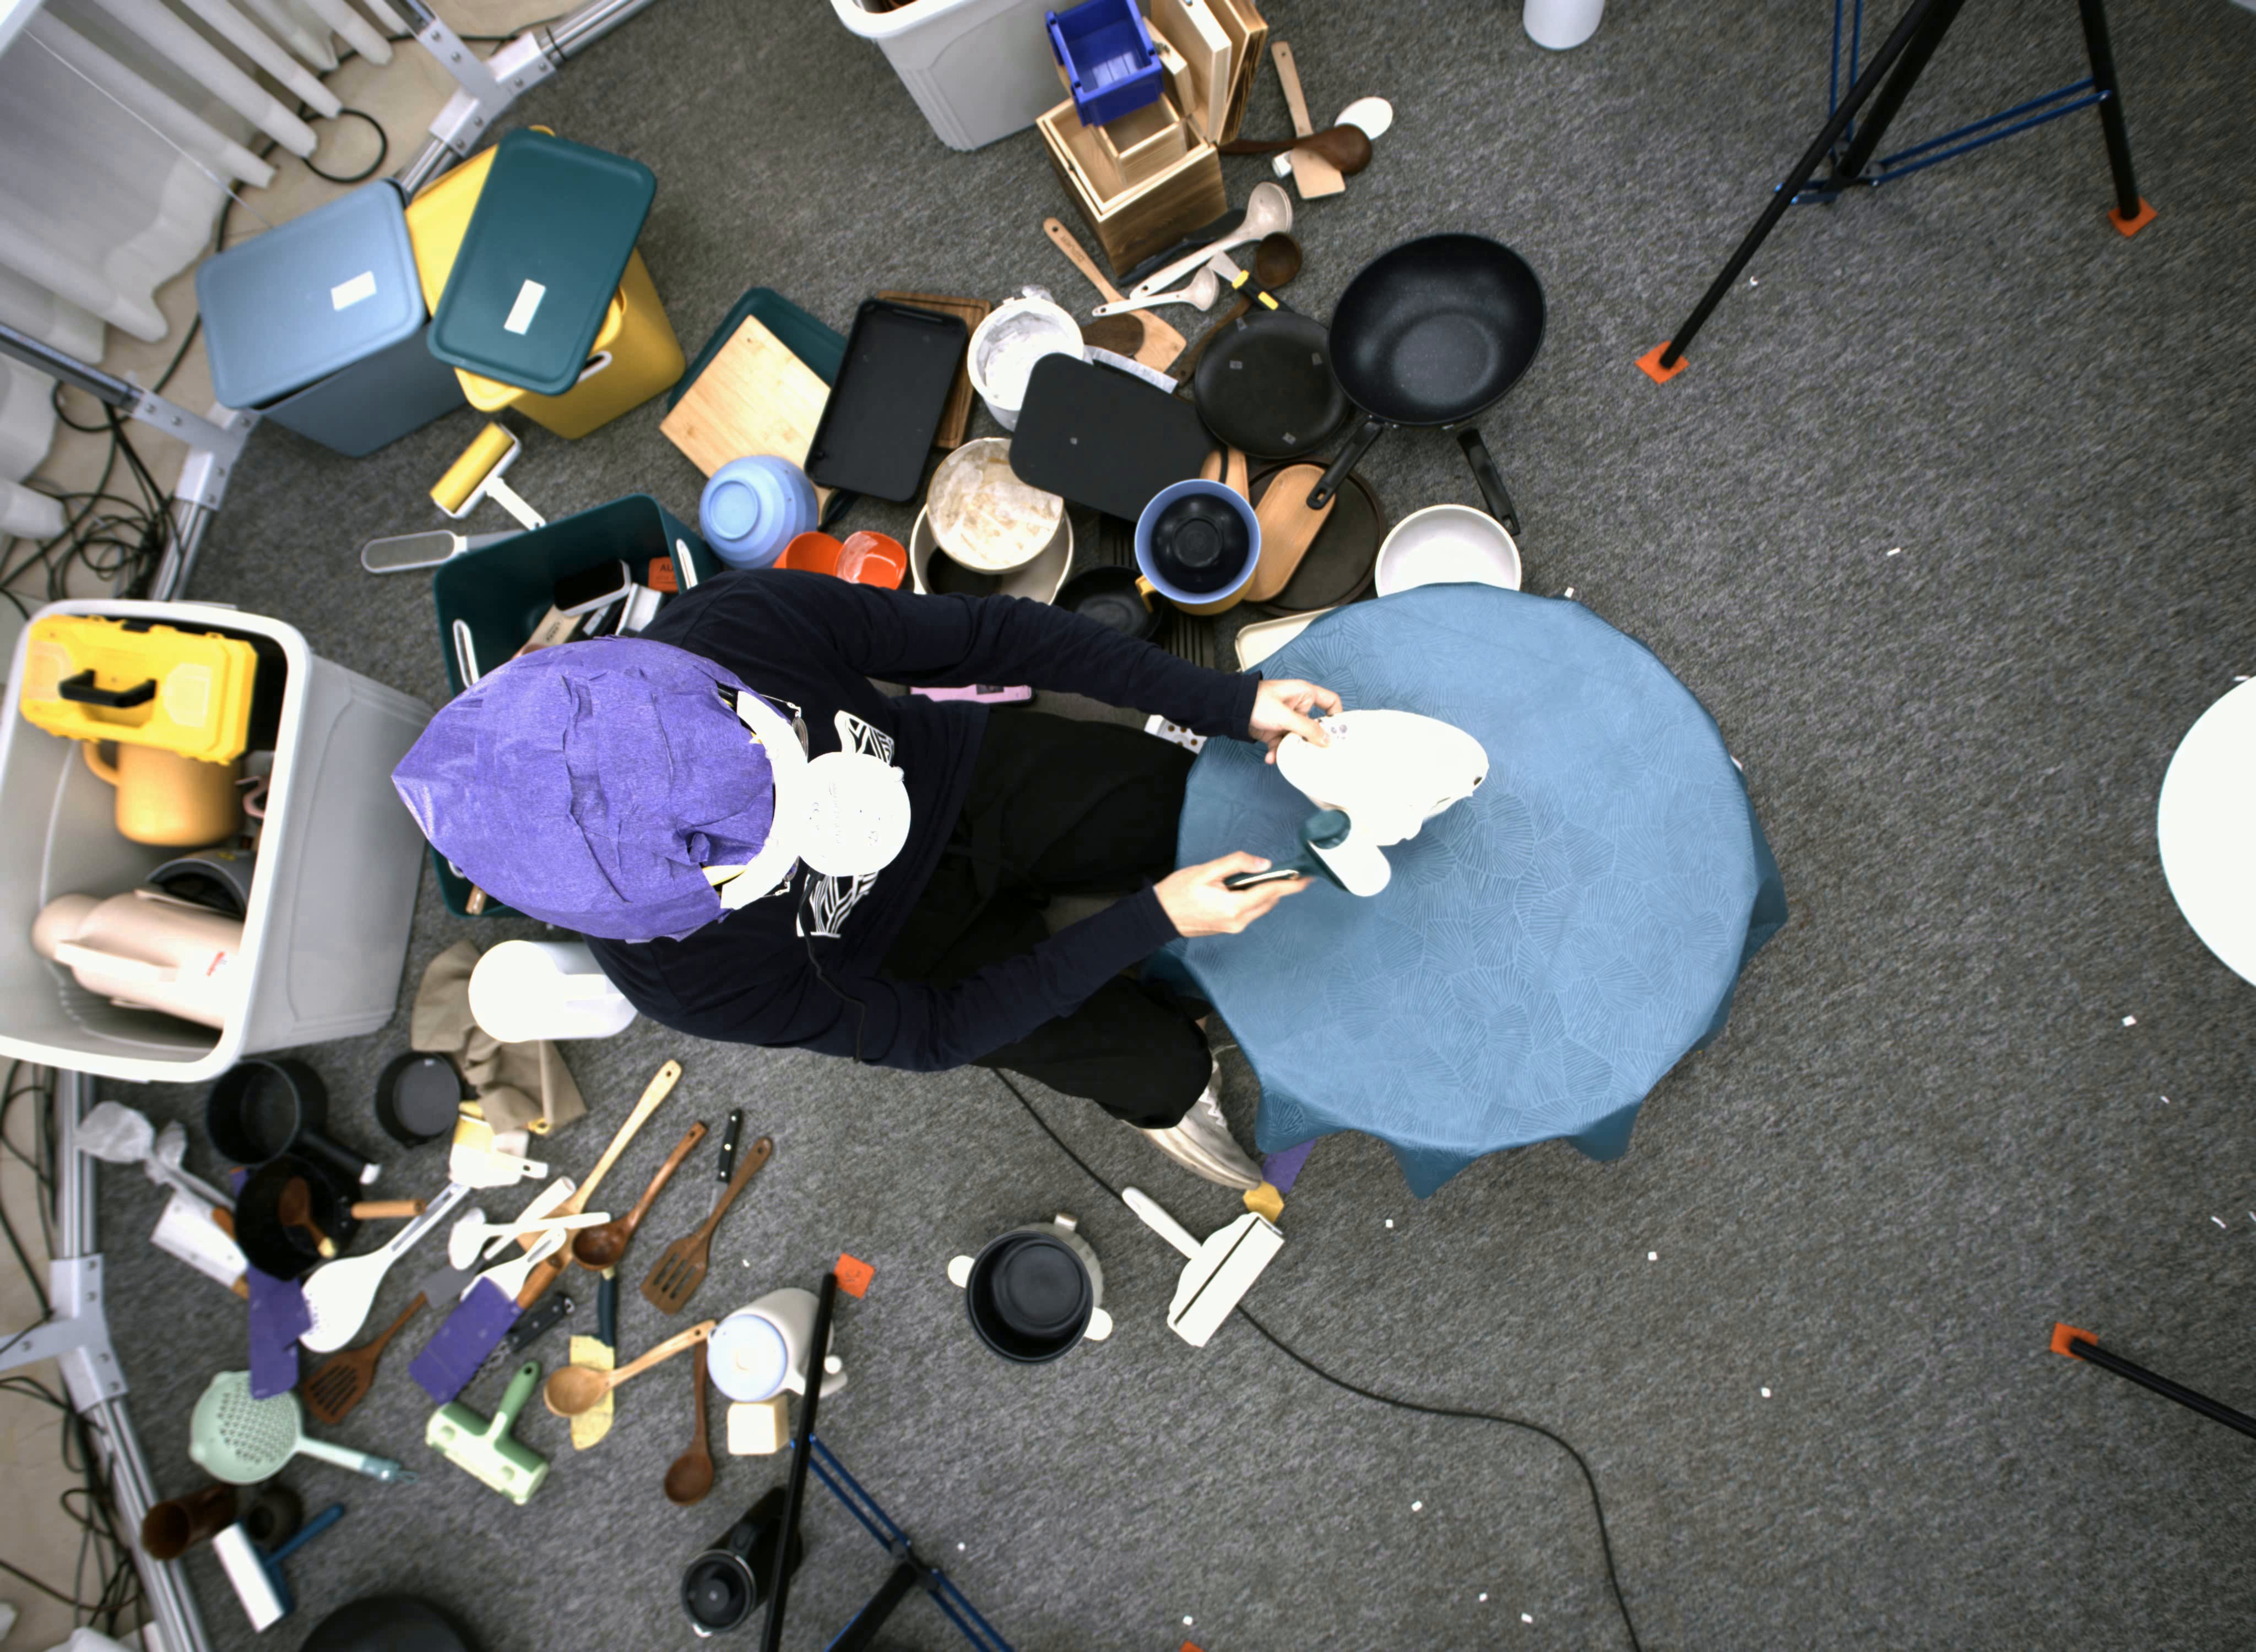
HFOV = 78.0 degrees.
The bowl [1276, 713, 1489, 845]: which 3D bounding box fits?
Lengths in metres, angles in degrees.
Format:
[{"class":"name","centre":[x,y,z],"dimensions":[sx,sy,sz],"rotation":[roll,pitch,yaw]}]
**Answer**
[{"class":"bowl","centre":[0.249,-0.037,1.350],"dimensions":[0.205,0.199,0.079],"rotation":[-1,120,10]}]

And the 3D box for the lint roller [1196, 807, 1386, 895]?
[{"class":"lint roller","centre":[0.149,0.047,1.338],"dimensions":[0.182,0.136,0.047],"rotation":[-23,54,21]}]
